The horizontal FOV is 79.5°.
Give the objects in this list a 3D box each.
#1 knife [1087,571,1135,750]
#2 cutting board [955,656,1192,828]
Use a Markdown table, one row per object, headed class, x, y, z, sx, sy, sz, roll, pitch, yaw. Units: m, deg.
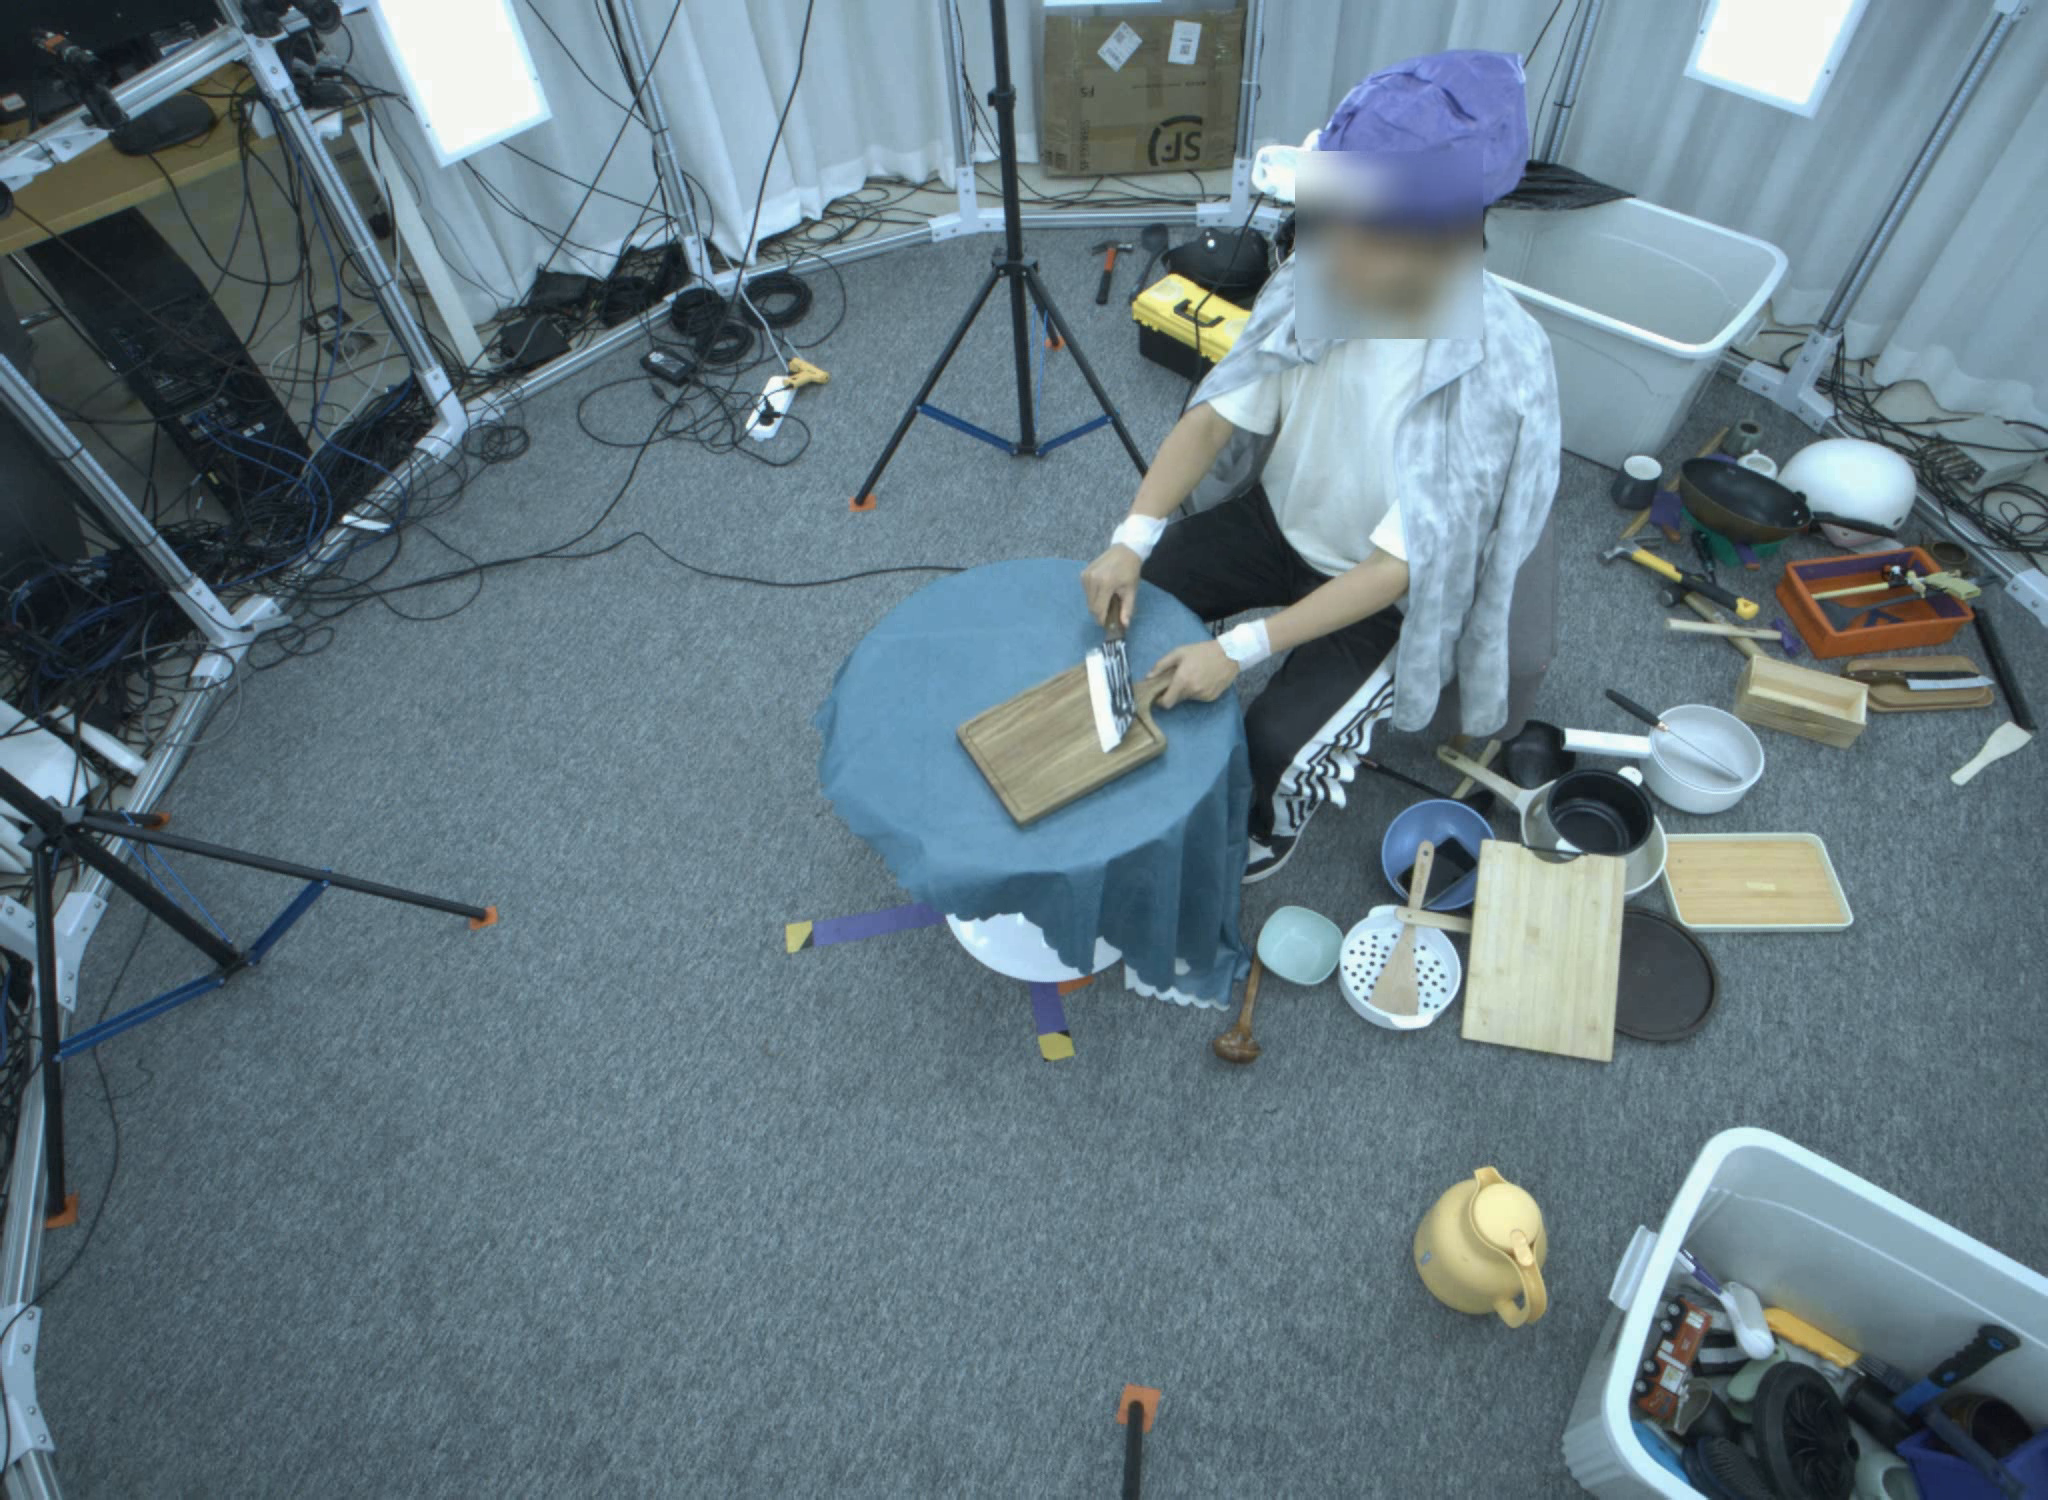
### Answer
| class | x | y | z | sx | sy | sz | roll | pitch | yaw |
| --- | --- | --- | --- | --- | --- | --- | --- | --- | --- |
| knife | 0.124 | -0.135 | 1.817 | 0.067 | 0.024 | 0.296 | -20 | 58 | 25 |
| cutting board | 0.096 | -0.040 | 1.790 | 0.354 | 0.023 | 0.197 | -28 | 59 | -14 |
